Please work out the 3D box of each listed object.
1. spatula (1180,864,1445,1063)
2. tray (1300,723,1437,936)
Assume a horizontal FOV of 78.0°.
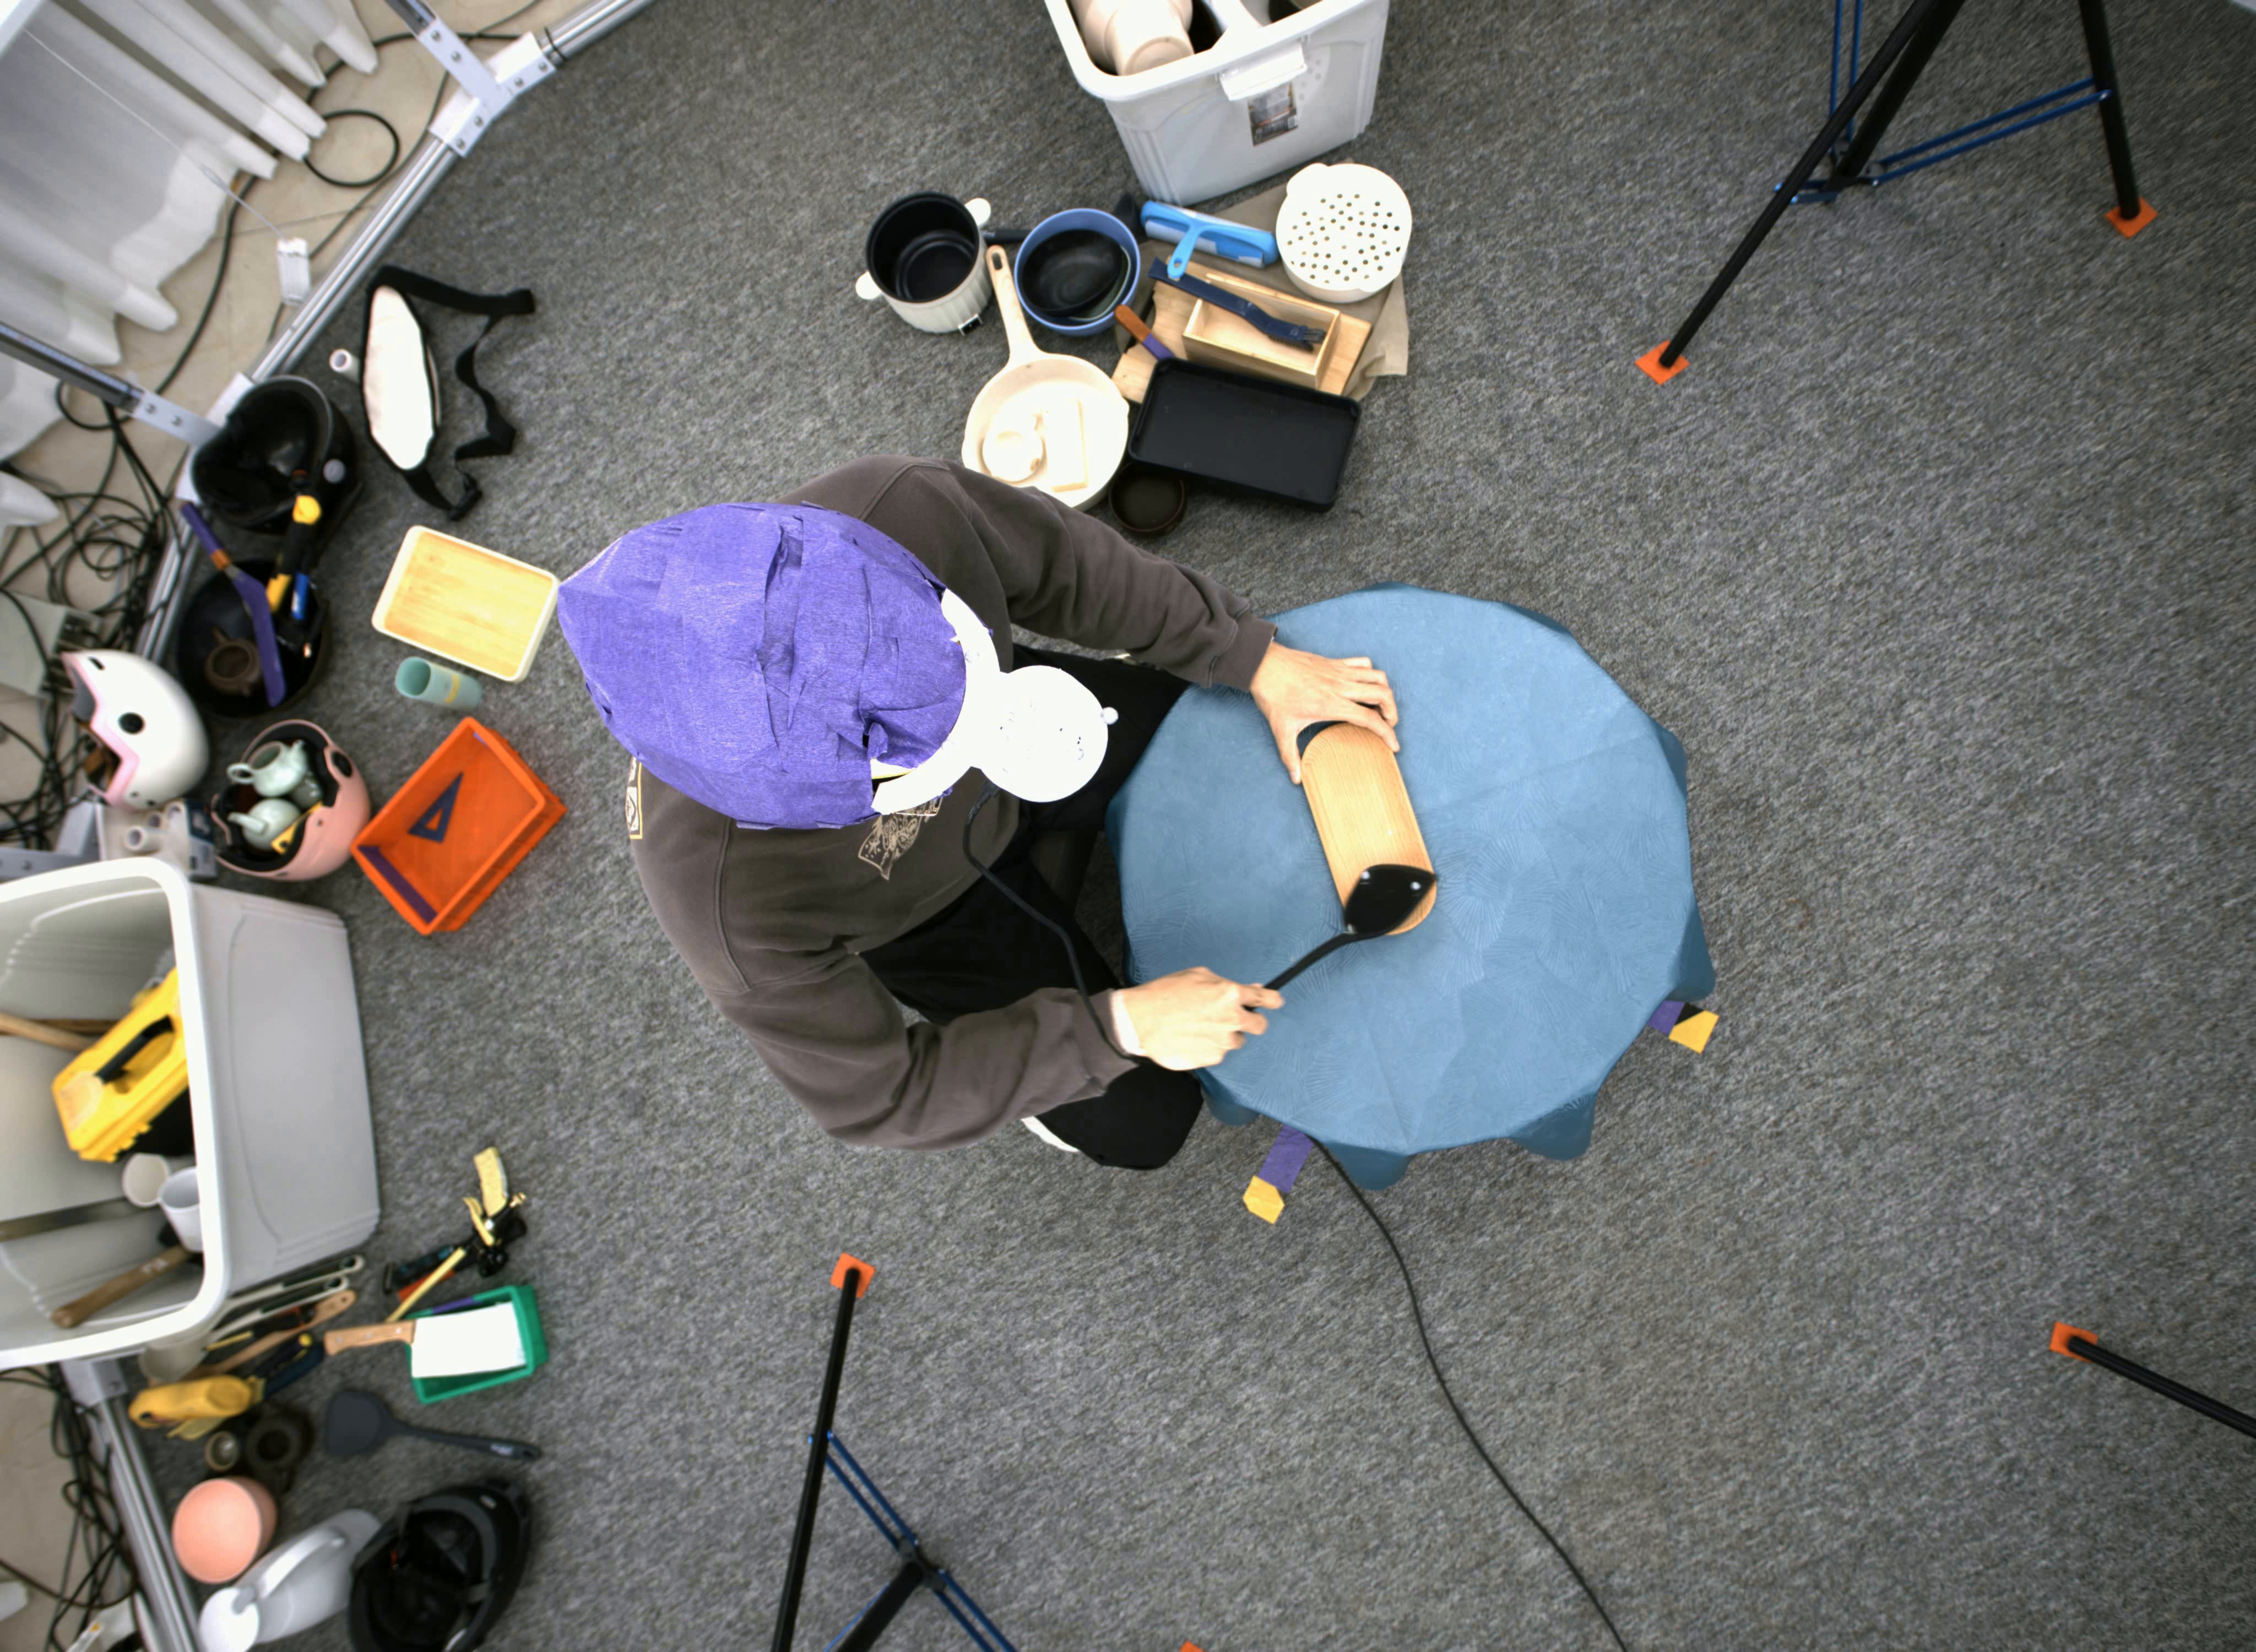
[{"bbox_3d":[0.170,0.129,1.331,0.321,0.100,0.041,-30,110,-24],"label":"spatula"},{"bbox_3d":[0.253,0.002,1.456,0.102,0.020,0.230,-19,85,10],"label":"tray"}]
